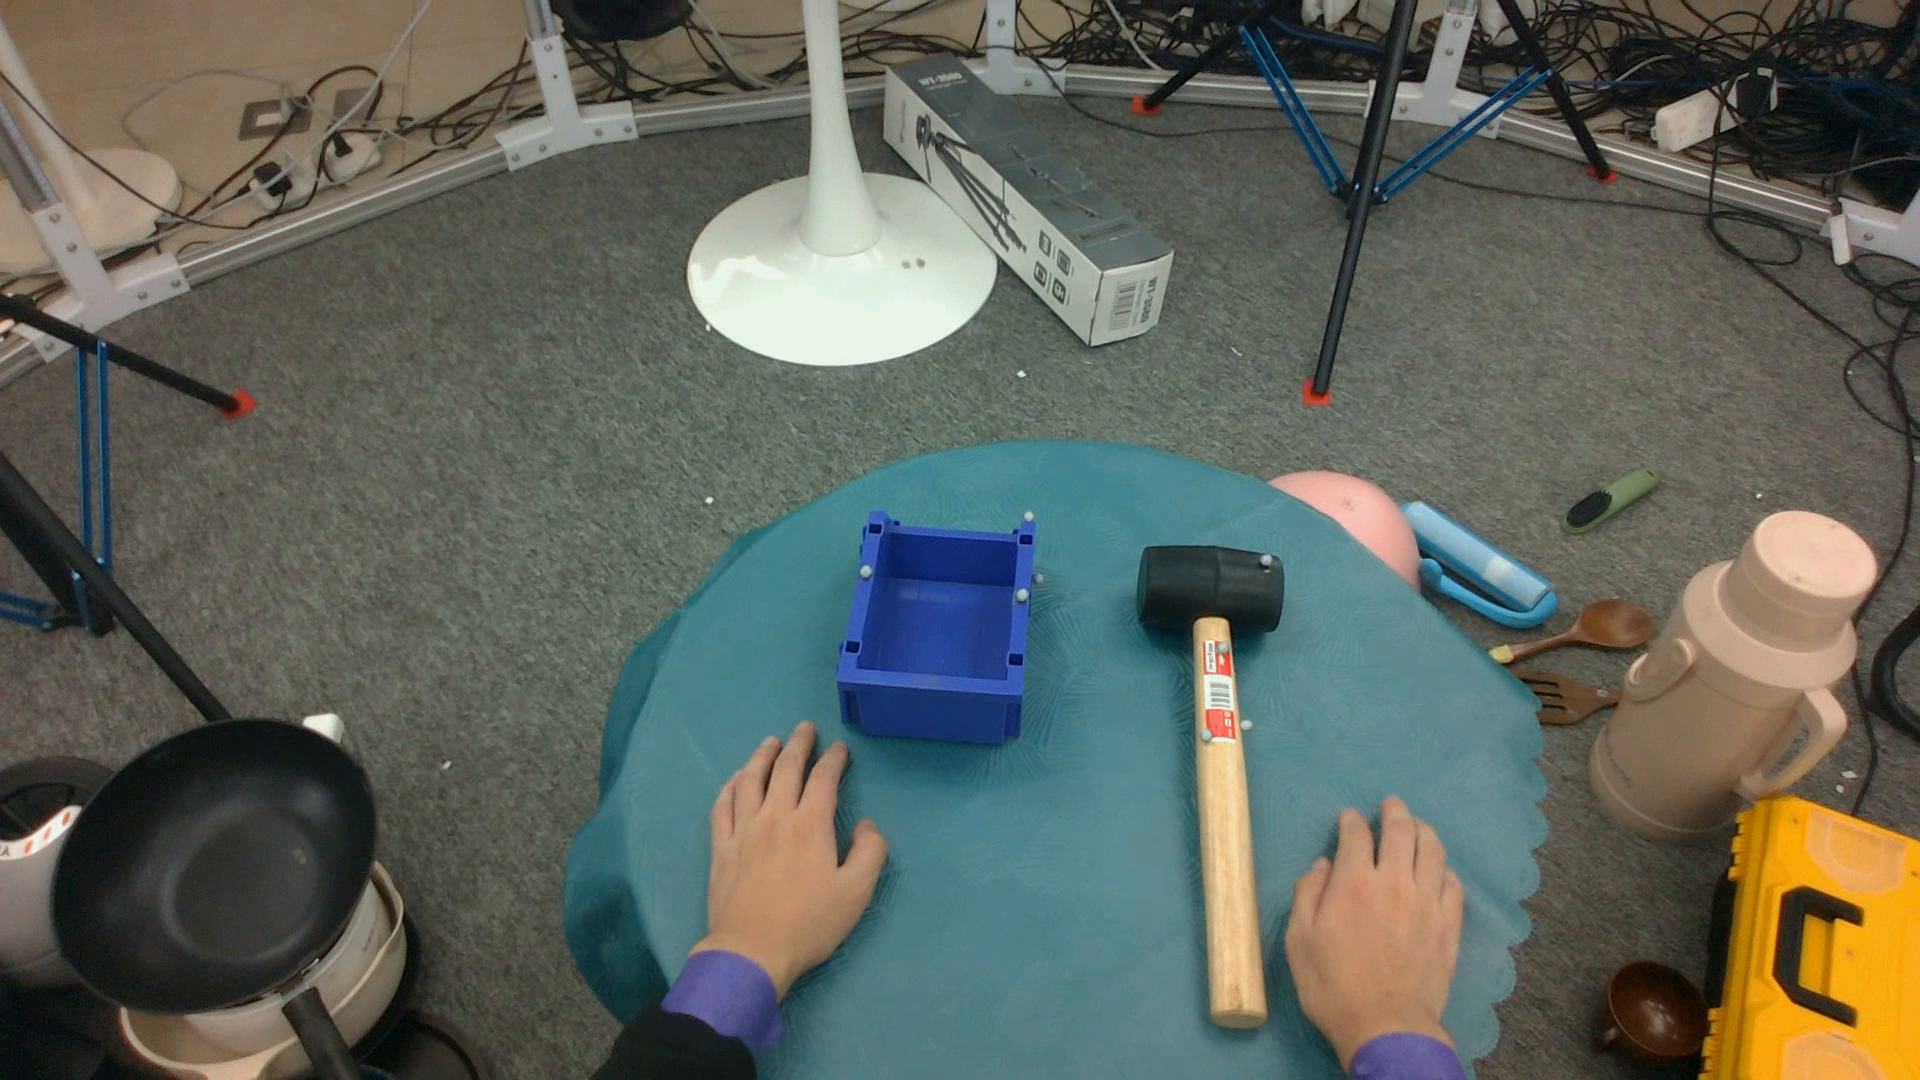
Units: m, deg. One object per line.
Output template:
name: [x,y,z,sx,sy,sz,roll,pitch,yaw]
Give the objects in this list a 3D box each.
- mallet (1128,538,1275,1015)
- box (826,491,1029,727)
mallet: [0.165,0.134,0.899,0.102,0.064,0.340,2,49,2]
box: [-0.020,0.040,0.966,0.124,0.081,0.180,5,52,4]
